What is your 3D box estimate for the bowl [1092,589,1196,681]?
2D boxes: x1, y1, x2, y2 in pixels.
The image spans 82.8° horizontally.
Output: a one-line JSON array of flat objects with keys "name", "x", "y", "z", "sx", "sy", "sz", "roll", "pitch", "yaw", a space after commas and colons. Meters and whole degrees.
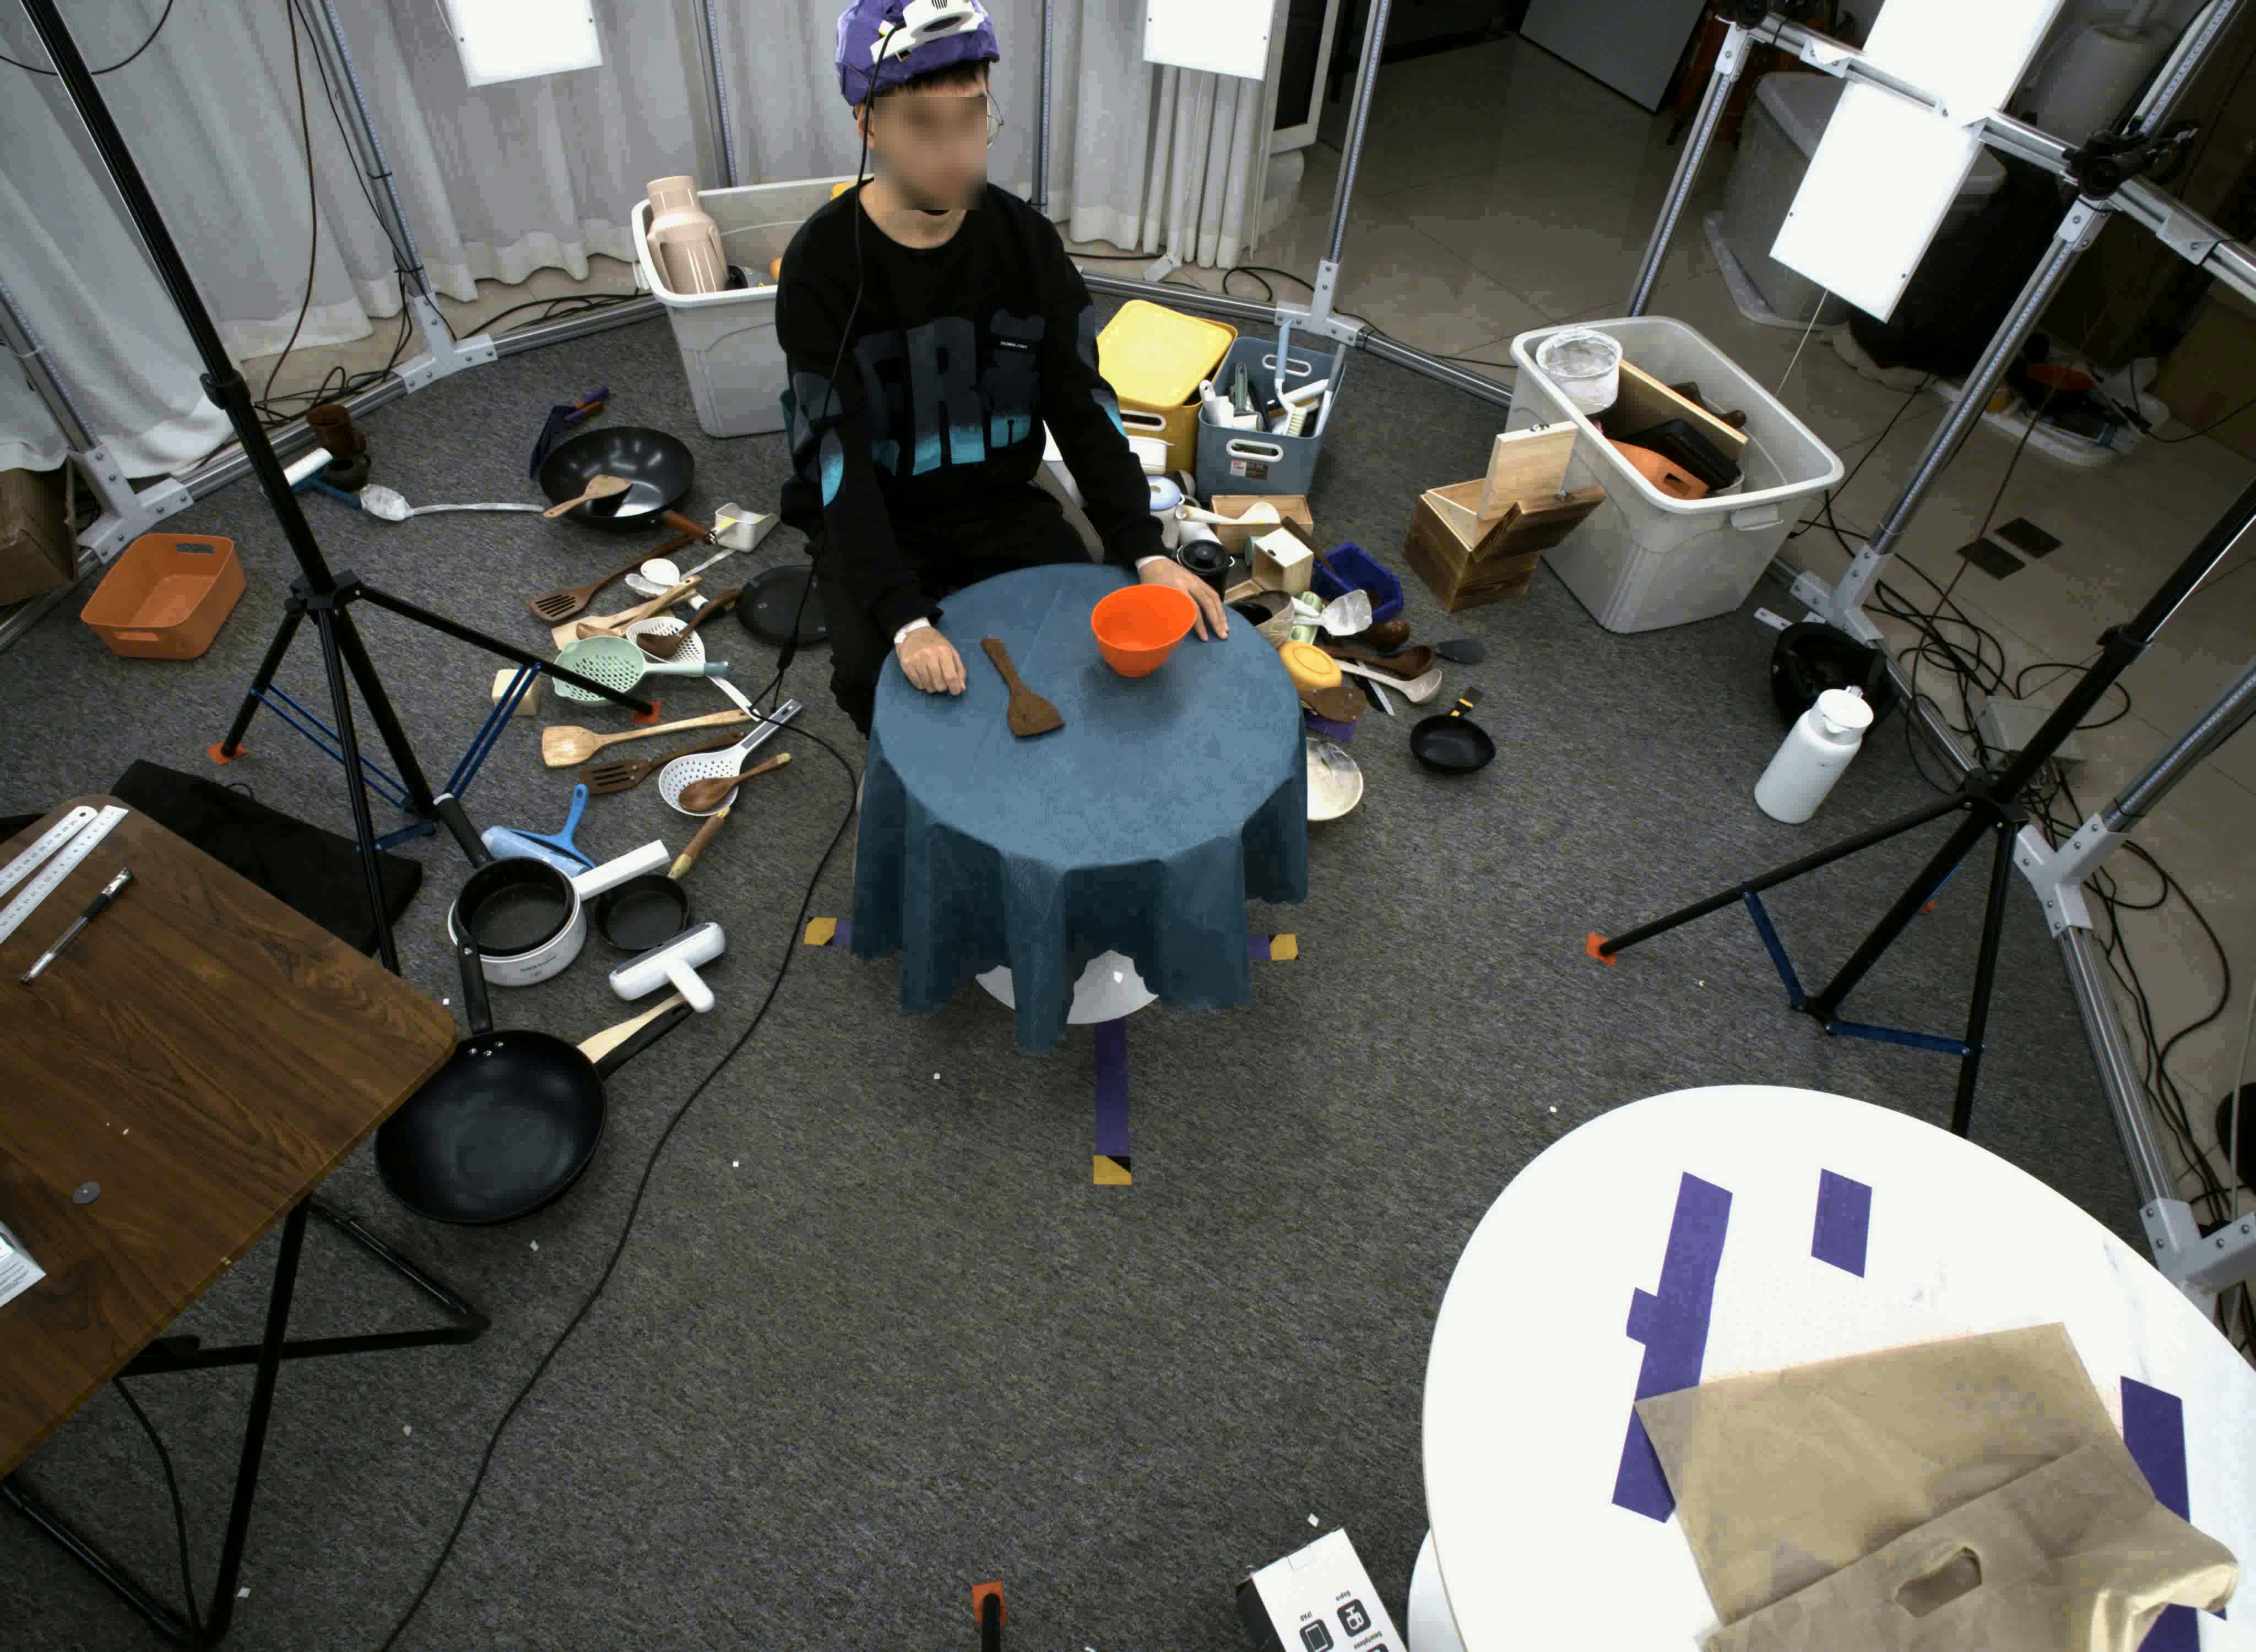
[{"name": "bowl", "x": 0.021, "y": -0.266, "z": 1.854, "sx": 0.148, "sy": 0.102, "sz": 0.152, "roll": 1, "pitch": 48, "yaw": -1}]

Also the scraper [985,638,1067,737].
[{"name": "scraper", "x": -0.159, "y": -0.201, "z": 1.844, "sx": 0.076, "sy": 0.010, "sz": 0.216, "roll": -16, "pitch": 51, "yaw": -18}]
